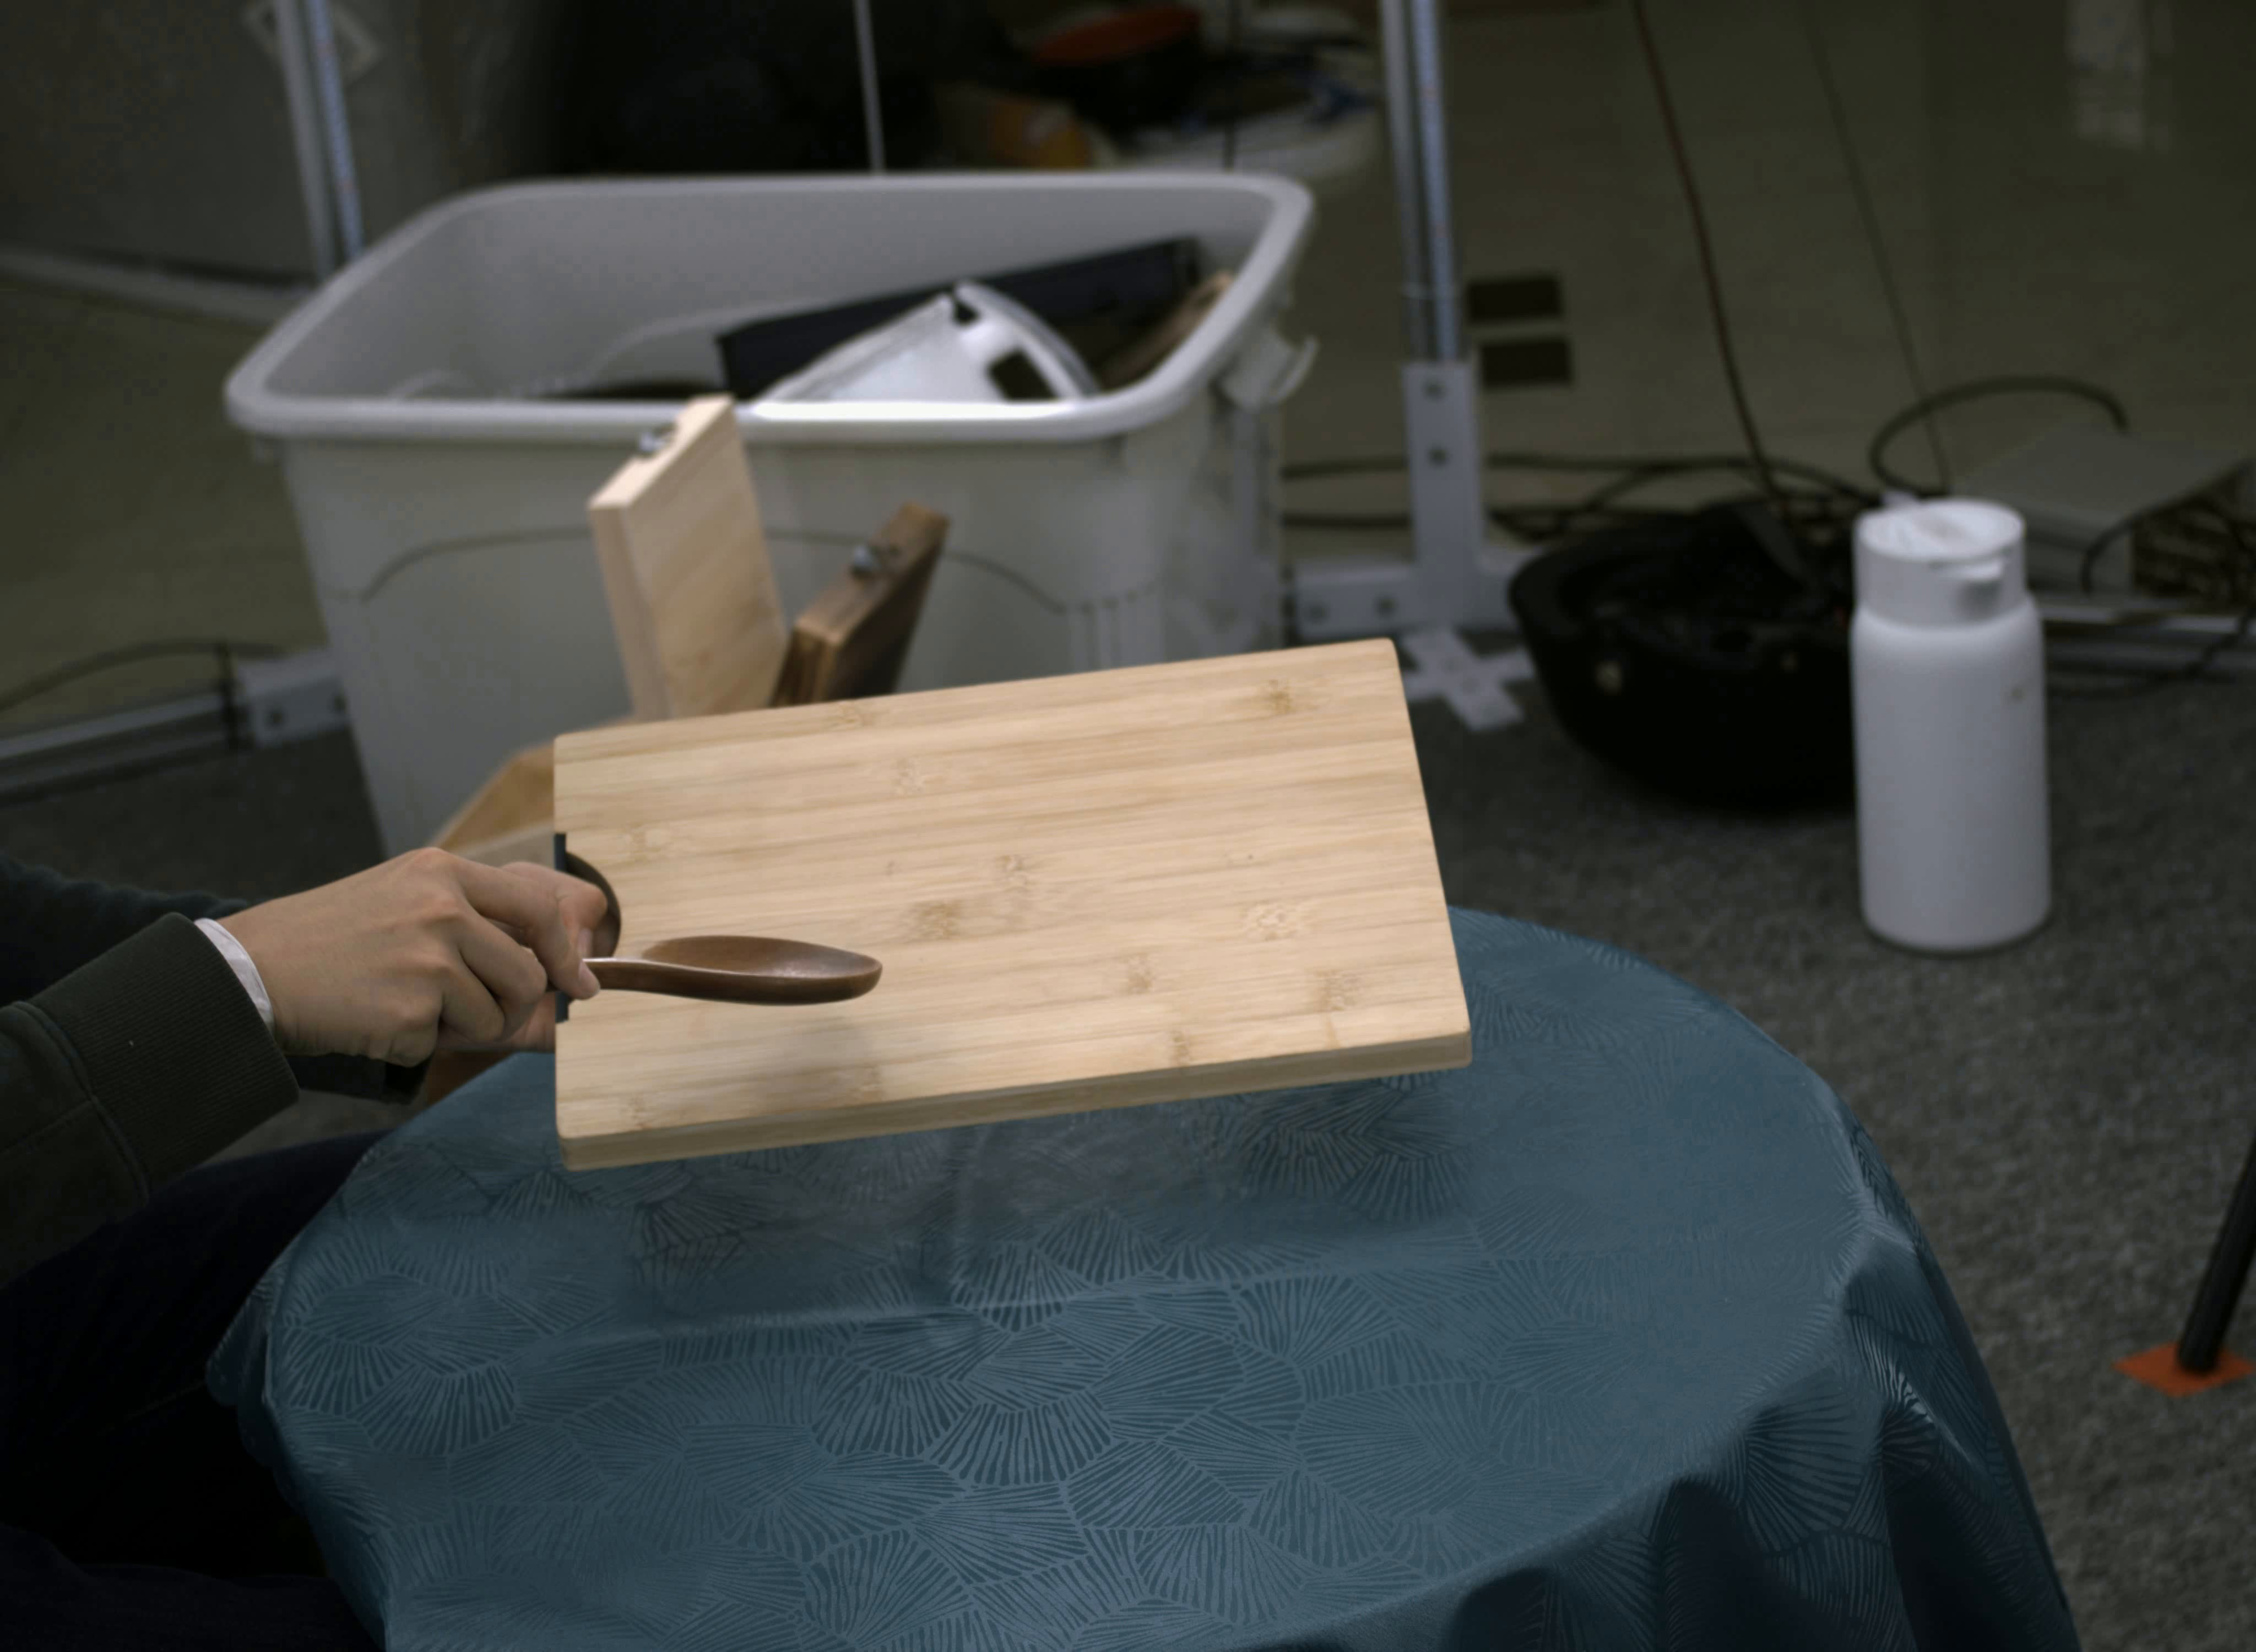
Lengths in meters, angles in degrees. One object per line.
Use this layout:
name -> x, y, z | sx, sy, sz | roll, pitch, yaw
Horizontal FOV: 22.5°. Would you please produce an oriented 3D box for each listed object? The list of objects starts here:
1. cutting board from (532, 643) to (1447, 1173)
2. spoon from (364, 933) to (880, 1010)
cutting board -> -0.057, 0.028, 2.183 | 0.348, 0.024, 0.246 | -7, 40, -1
spoon -> -0.179, 0.053, 2.012 | 0.216, 0.017, 0.075 | 2, 13, -43
